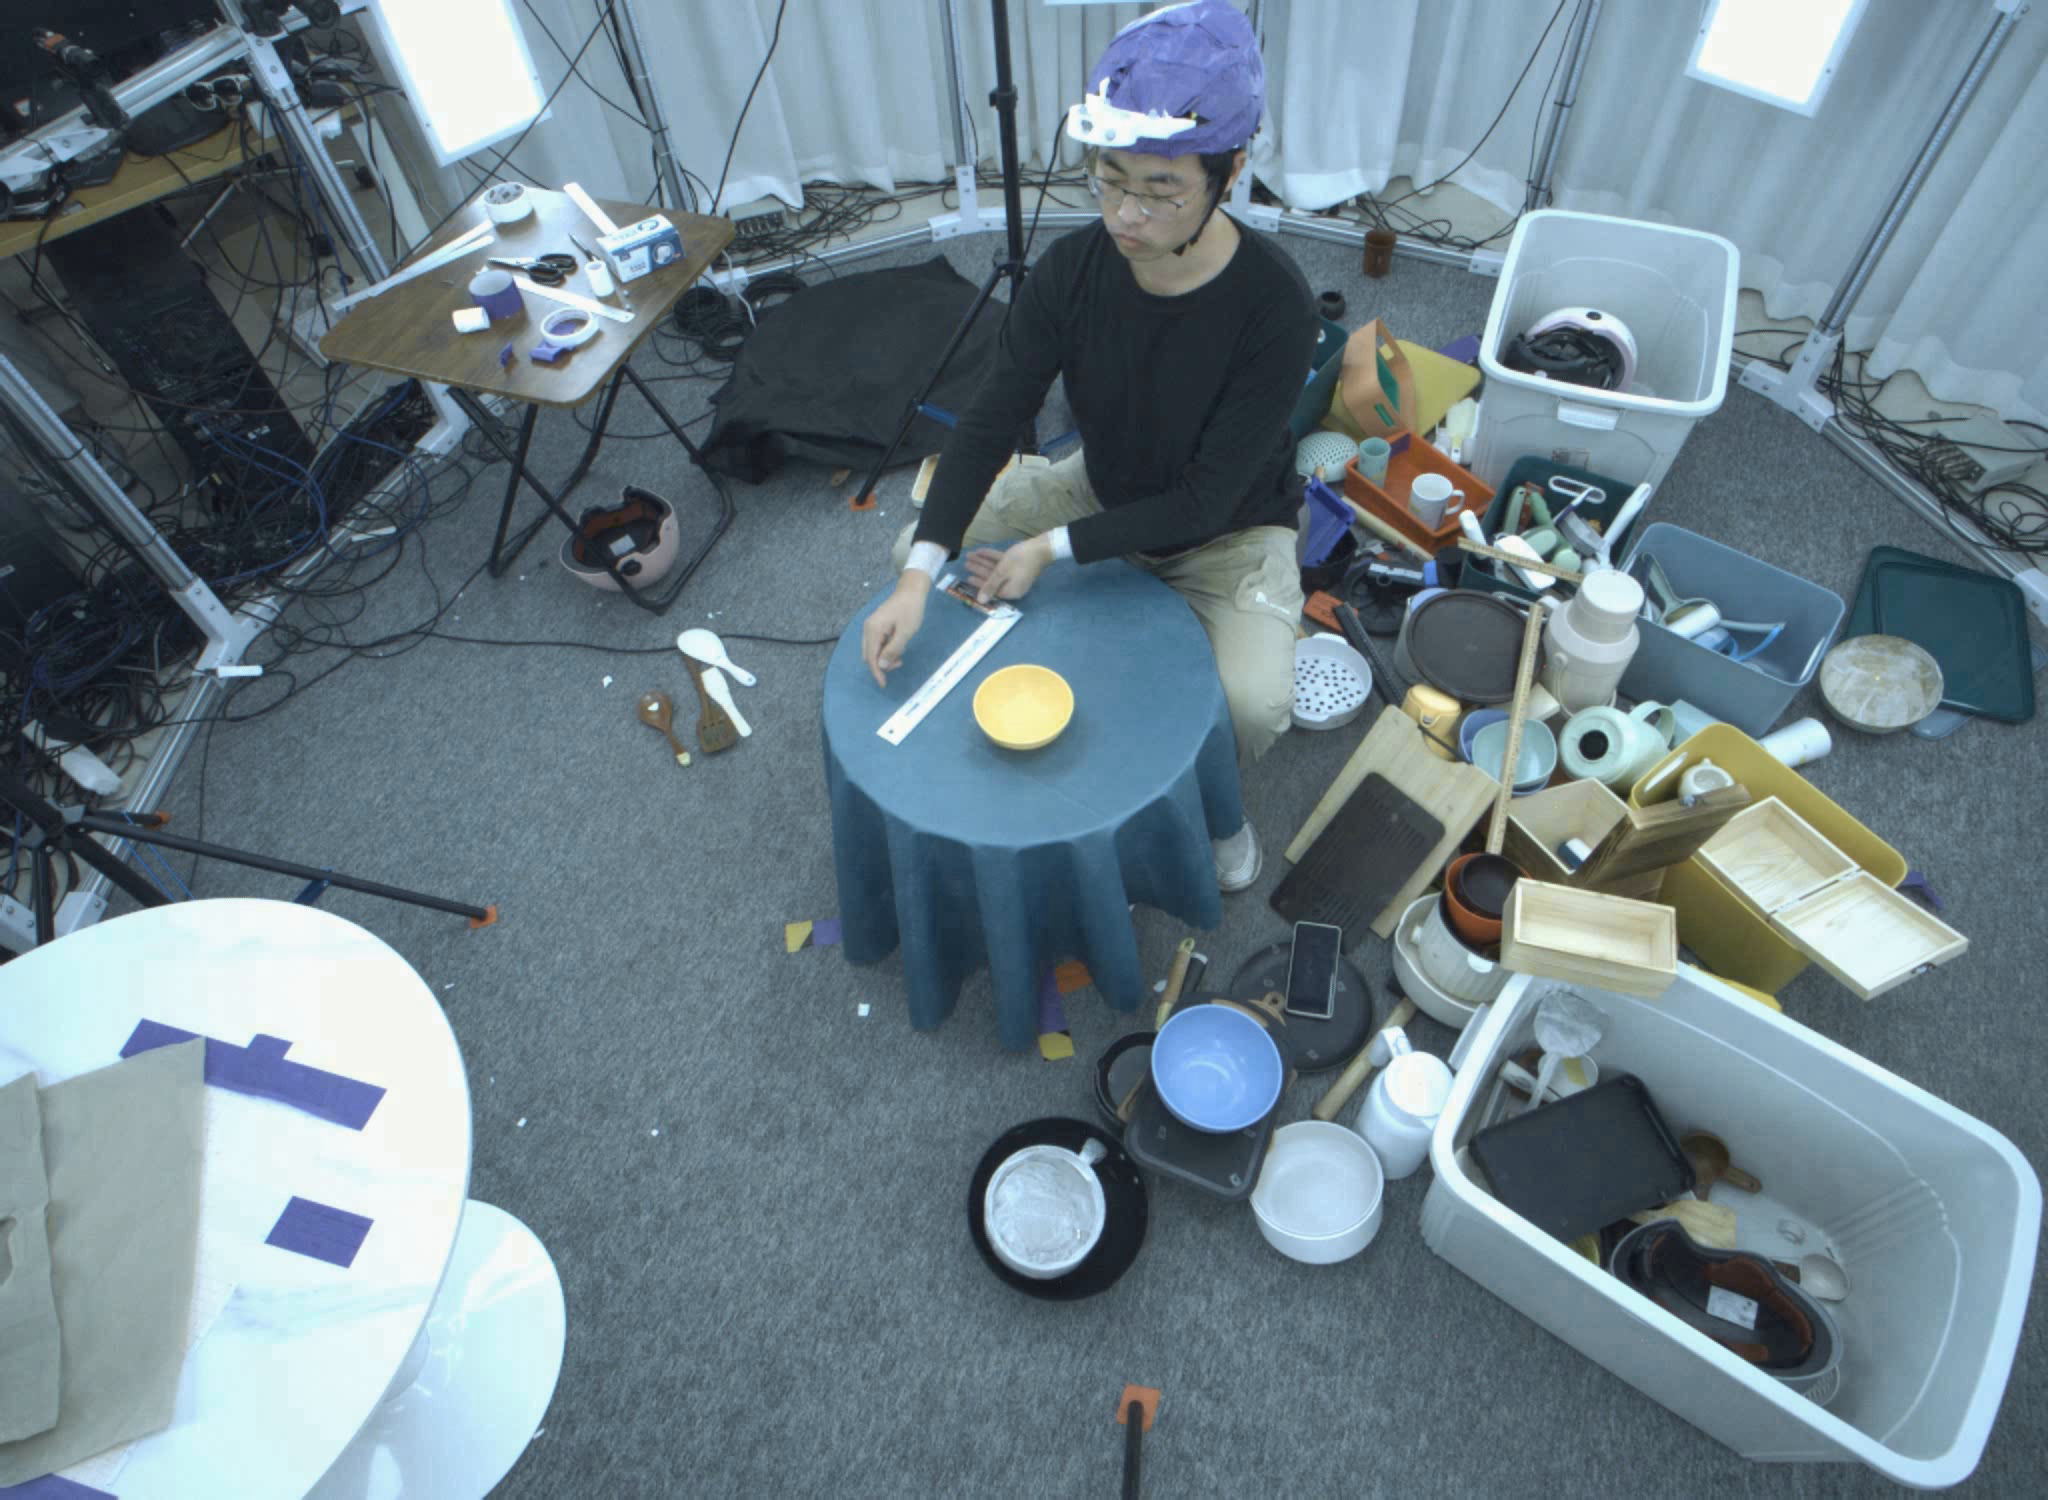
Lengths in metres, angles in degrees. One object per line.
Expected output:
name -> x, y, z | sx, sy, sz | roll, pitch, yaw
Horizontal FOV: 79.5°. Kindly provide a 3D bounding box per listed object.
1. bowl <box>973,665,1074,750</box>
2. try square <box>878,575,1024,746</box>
bowl -> -0.001, -0.051, 1.790 | 0.145, 0.060, 0.144 | 1, 54, 0
try square -> -0.151, -0.144, 1.892 | 0.149, 0.016, 0.314 | 29, 62, 23
